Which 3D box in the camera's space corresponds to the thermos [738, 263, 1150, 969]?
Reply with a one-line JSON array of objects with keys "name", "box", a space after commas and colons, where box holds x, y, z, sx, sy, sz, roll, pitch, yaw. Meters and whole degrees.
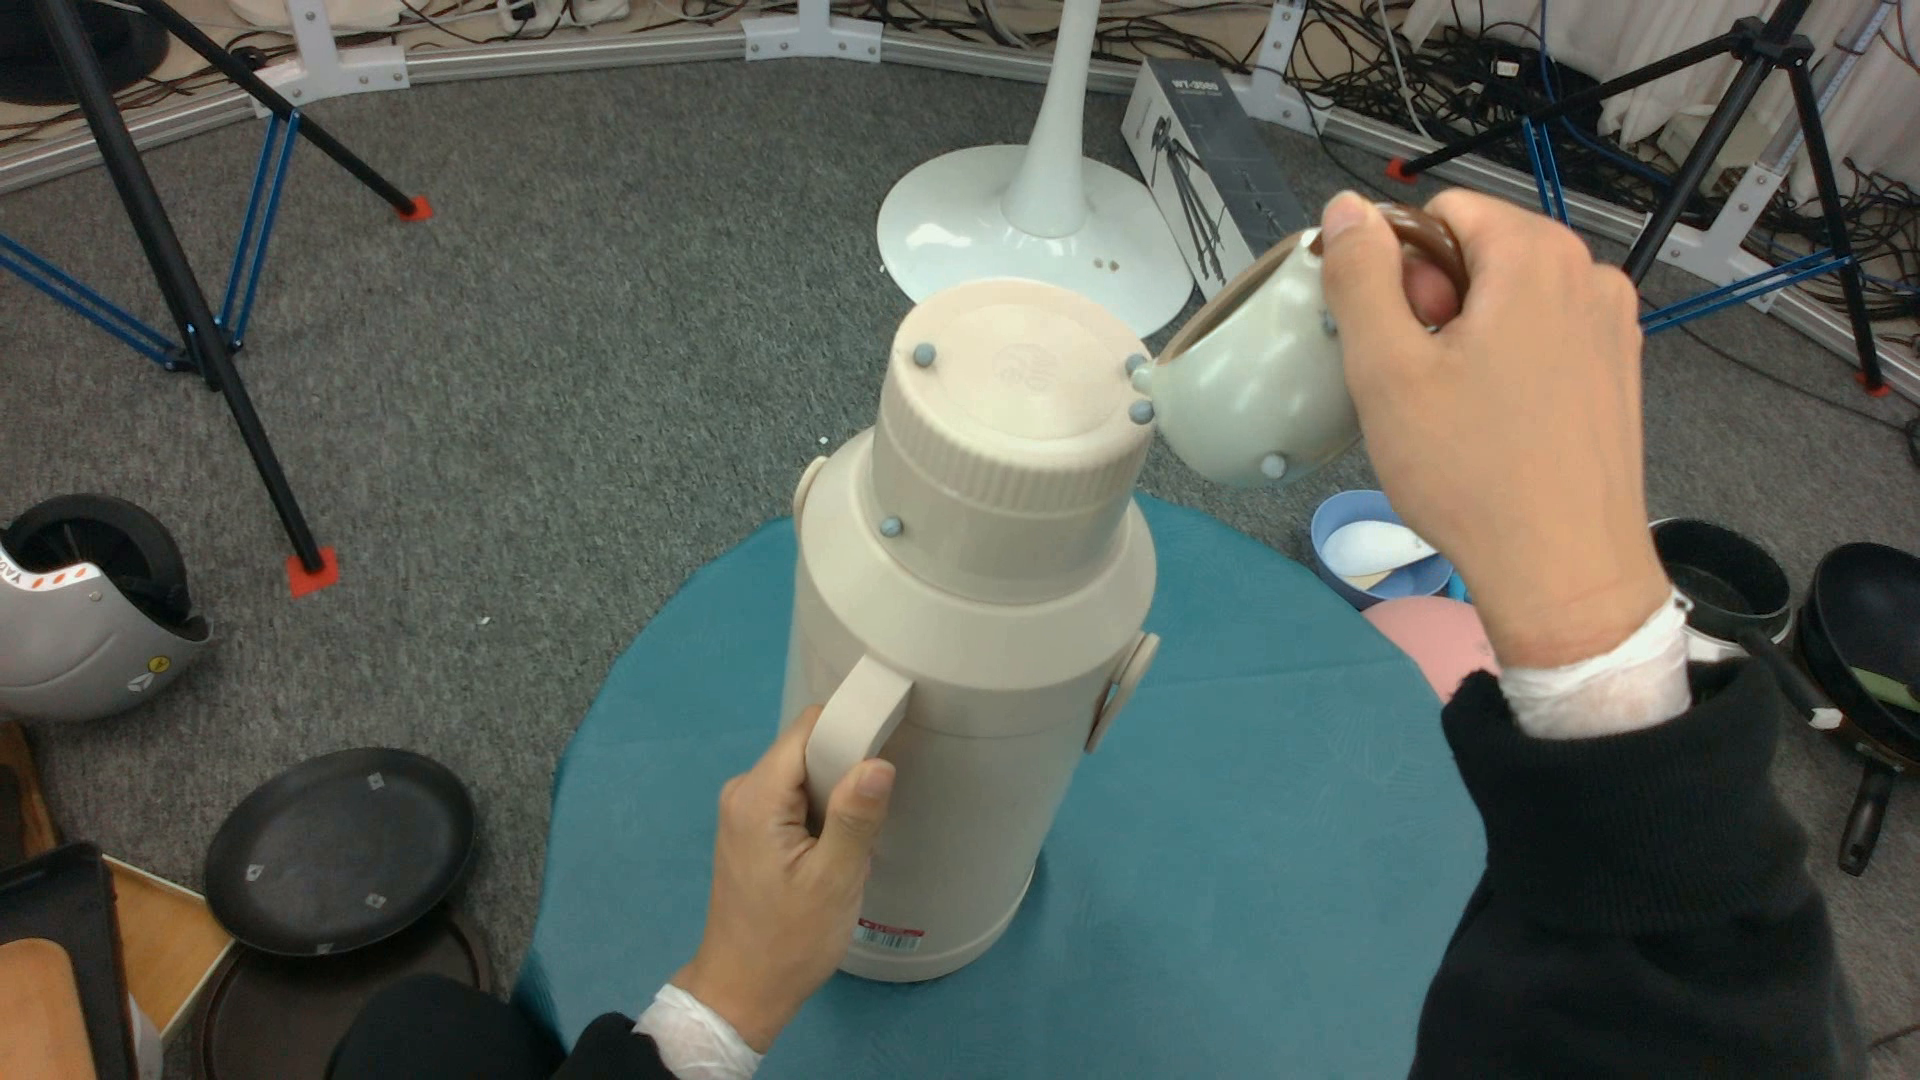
[{"name": "thermos", "box": [-0.023, 0.063, 0.659, 0.175, 0.404, 0.208, 29, 50, 9]}]

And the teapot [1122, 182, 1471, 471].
[{"name": "teapot", "box": [0.108, -0.068, 0.444, 0.059, 0.127, 0.092, 47, 51, -5]}]
